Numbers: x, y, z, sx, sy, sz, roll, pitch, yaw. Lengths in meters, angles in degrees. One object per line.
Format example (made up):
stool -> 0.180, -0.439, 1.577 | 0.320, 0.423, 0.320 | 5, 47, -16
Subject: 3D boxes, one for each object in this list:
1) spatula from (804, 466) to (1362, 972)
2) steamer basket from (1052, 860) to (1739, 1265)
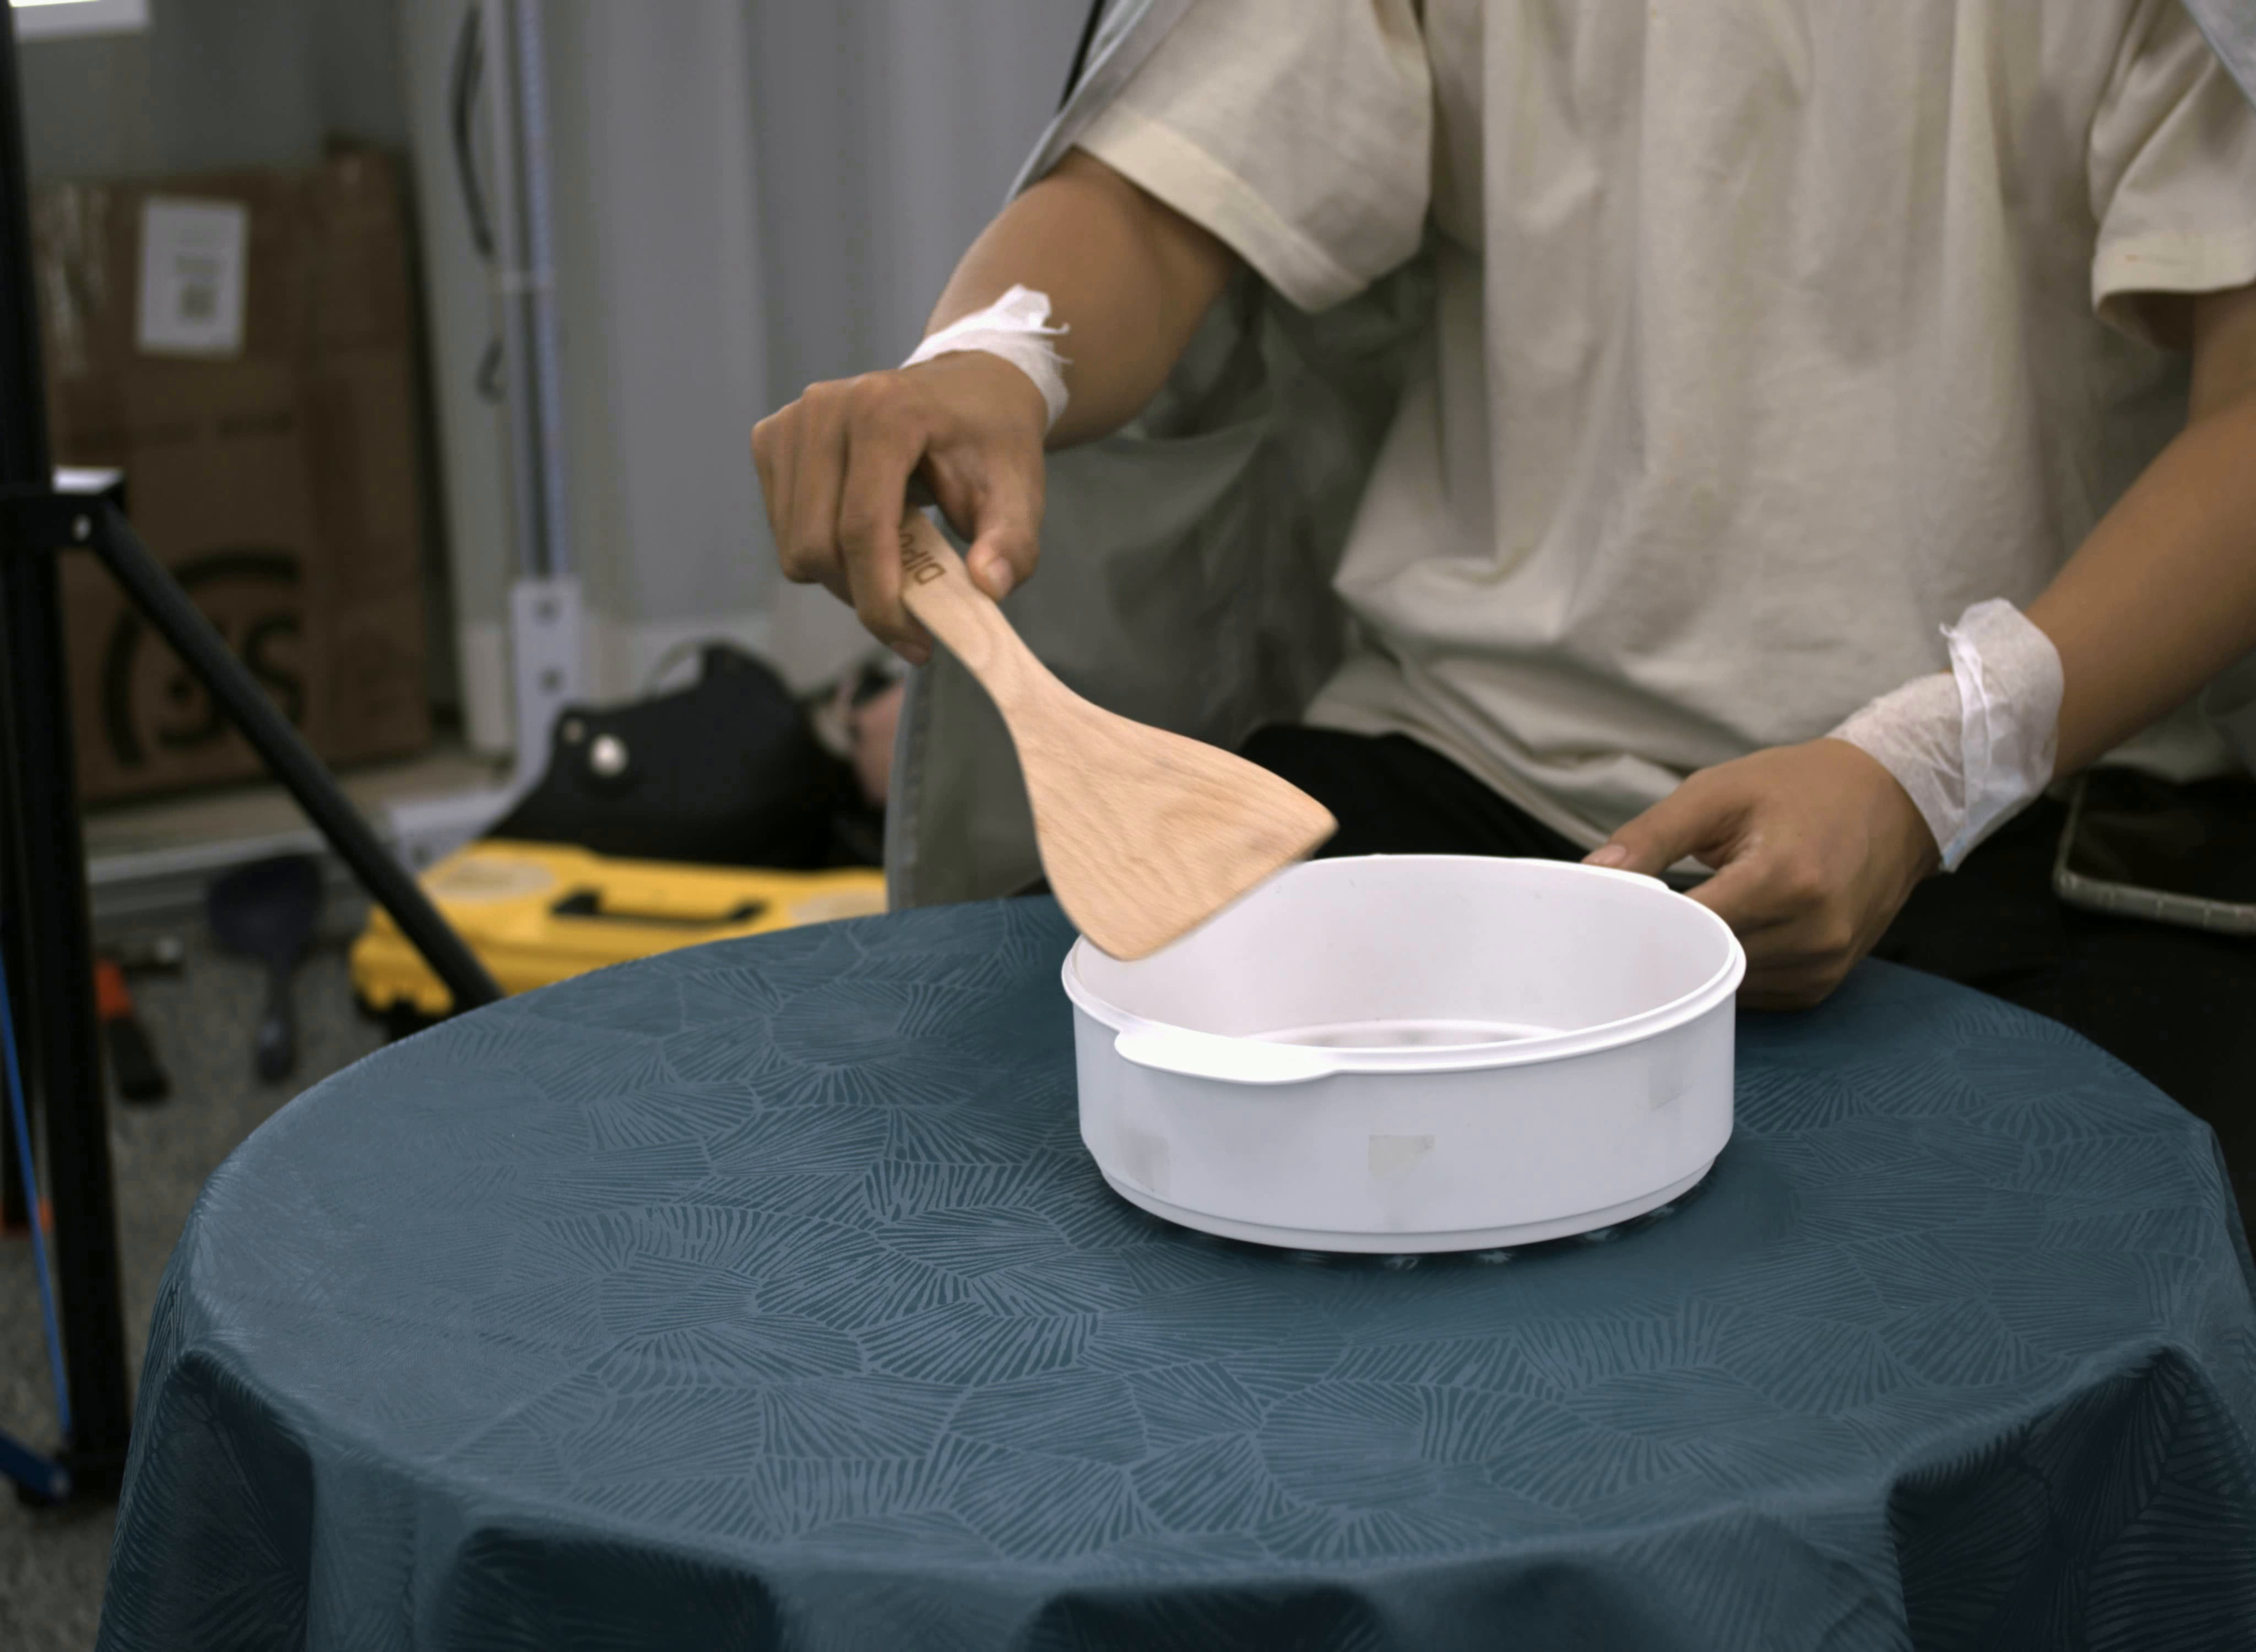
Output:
spatula -> -0.029, -0.044, 1.629 | 0.079, 0.016, 0.335 | -29, 36, -11
steamer basket -> 0.078, 0.069, 1.559 | 0.206, 0.069, 0.226 | 10, 19, 34
